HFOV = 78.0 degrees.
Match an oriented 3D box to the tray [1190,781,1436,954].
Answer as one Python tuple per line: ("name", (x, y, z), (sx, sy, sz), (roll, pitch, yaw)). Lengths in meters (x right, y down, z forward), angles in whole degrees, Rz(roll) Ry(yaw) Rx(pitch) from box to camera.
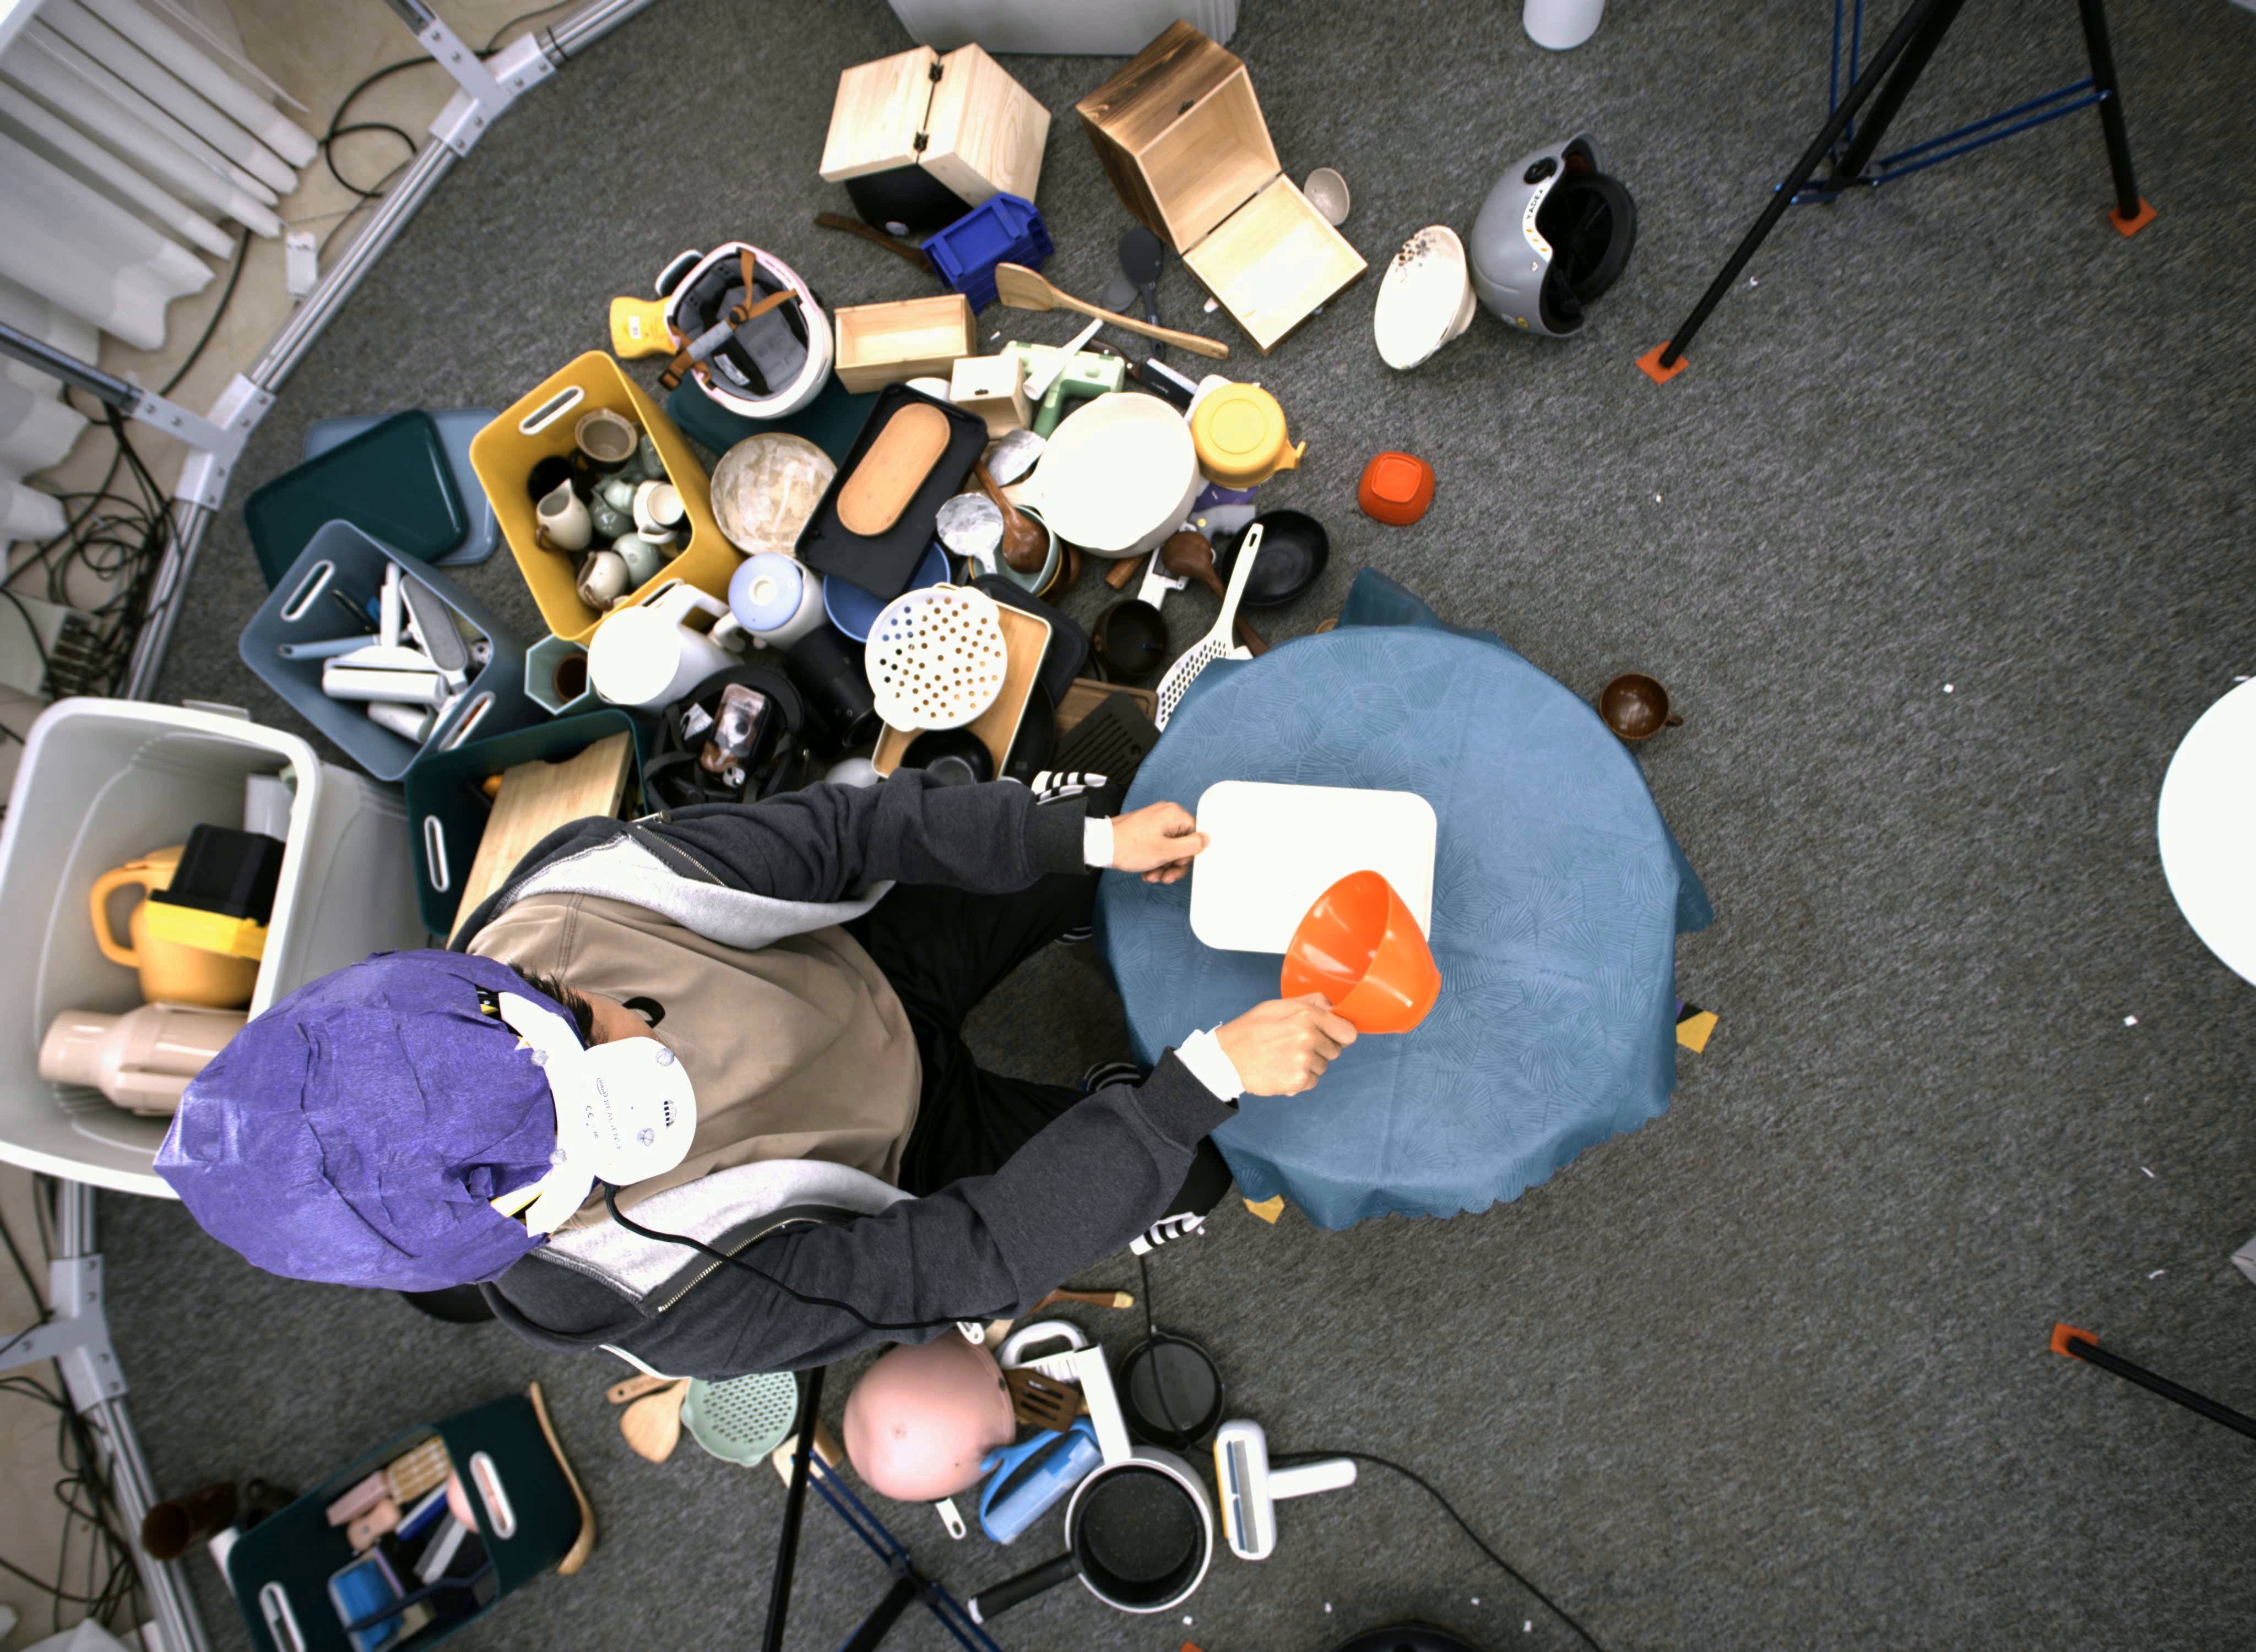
("tray", (0.185, 0.044, 1.388), (0.240, 0.017, 0.171), (4, 91, 7))

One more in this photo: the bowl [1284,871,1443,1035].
("bowl", (0.219, 0.125, 1.237), (0.105, 0.147, 0.148), (34, 91, -9))
